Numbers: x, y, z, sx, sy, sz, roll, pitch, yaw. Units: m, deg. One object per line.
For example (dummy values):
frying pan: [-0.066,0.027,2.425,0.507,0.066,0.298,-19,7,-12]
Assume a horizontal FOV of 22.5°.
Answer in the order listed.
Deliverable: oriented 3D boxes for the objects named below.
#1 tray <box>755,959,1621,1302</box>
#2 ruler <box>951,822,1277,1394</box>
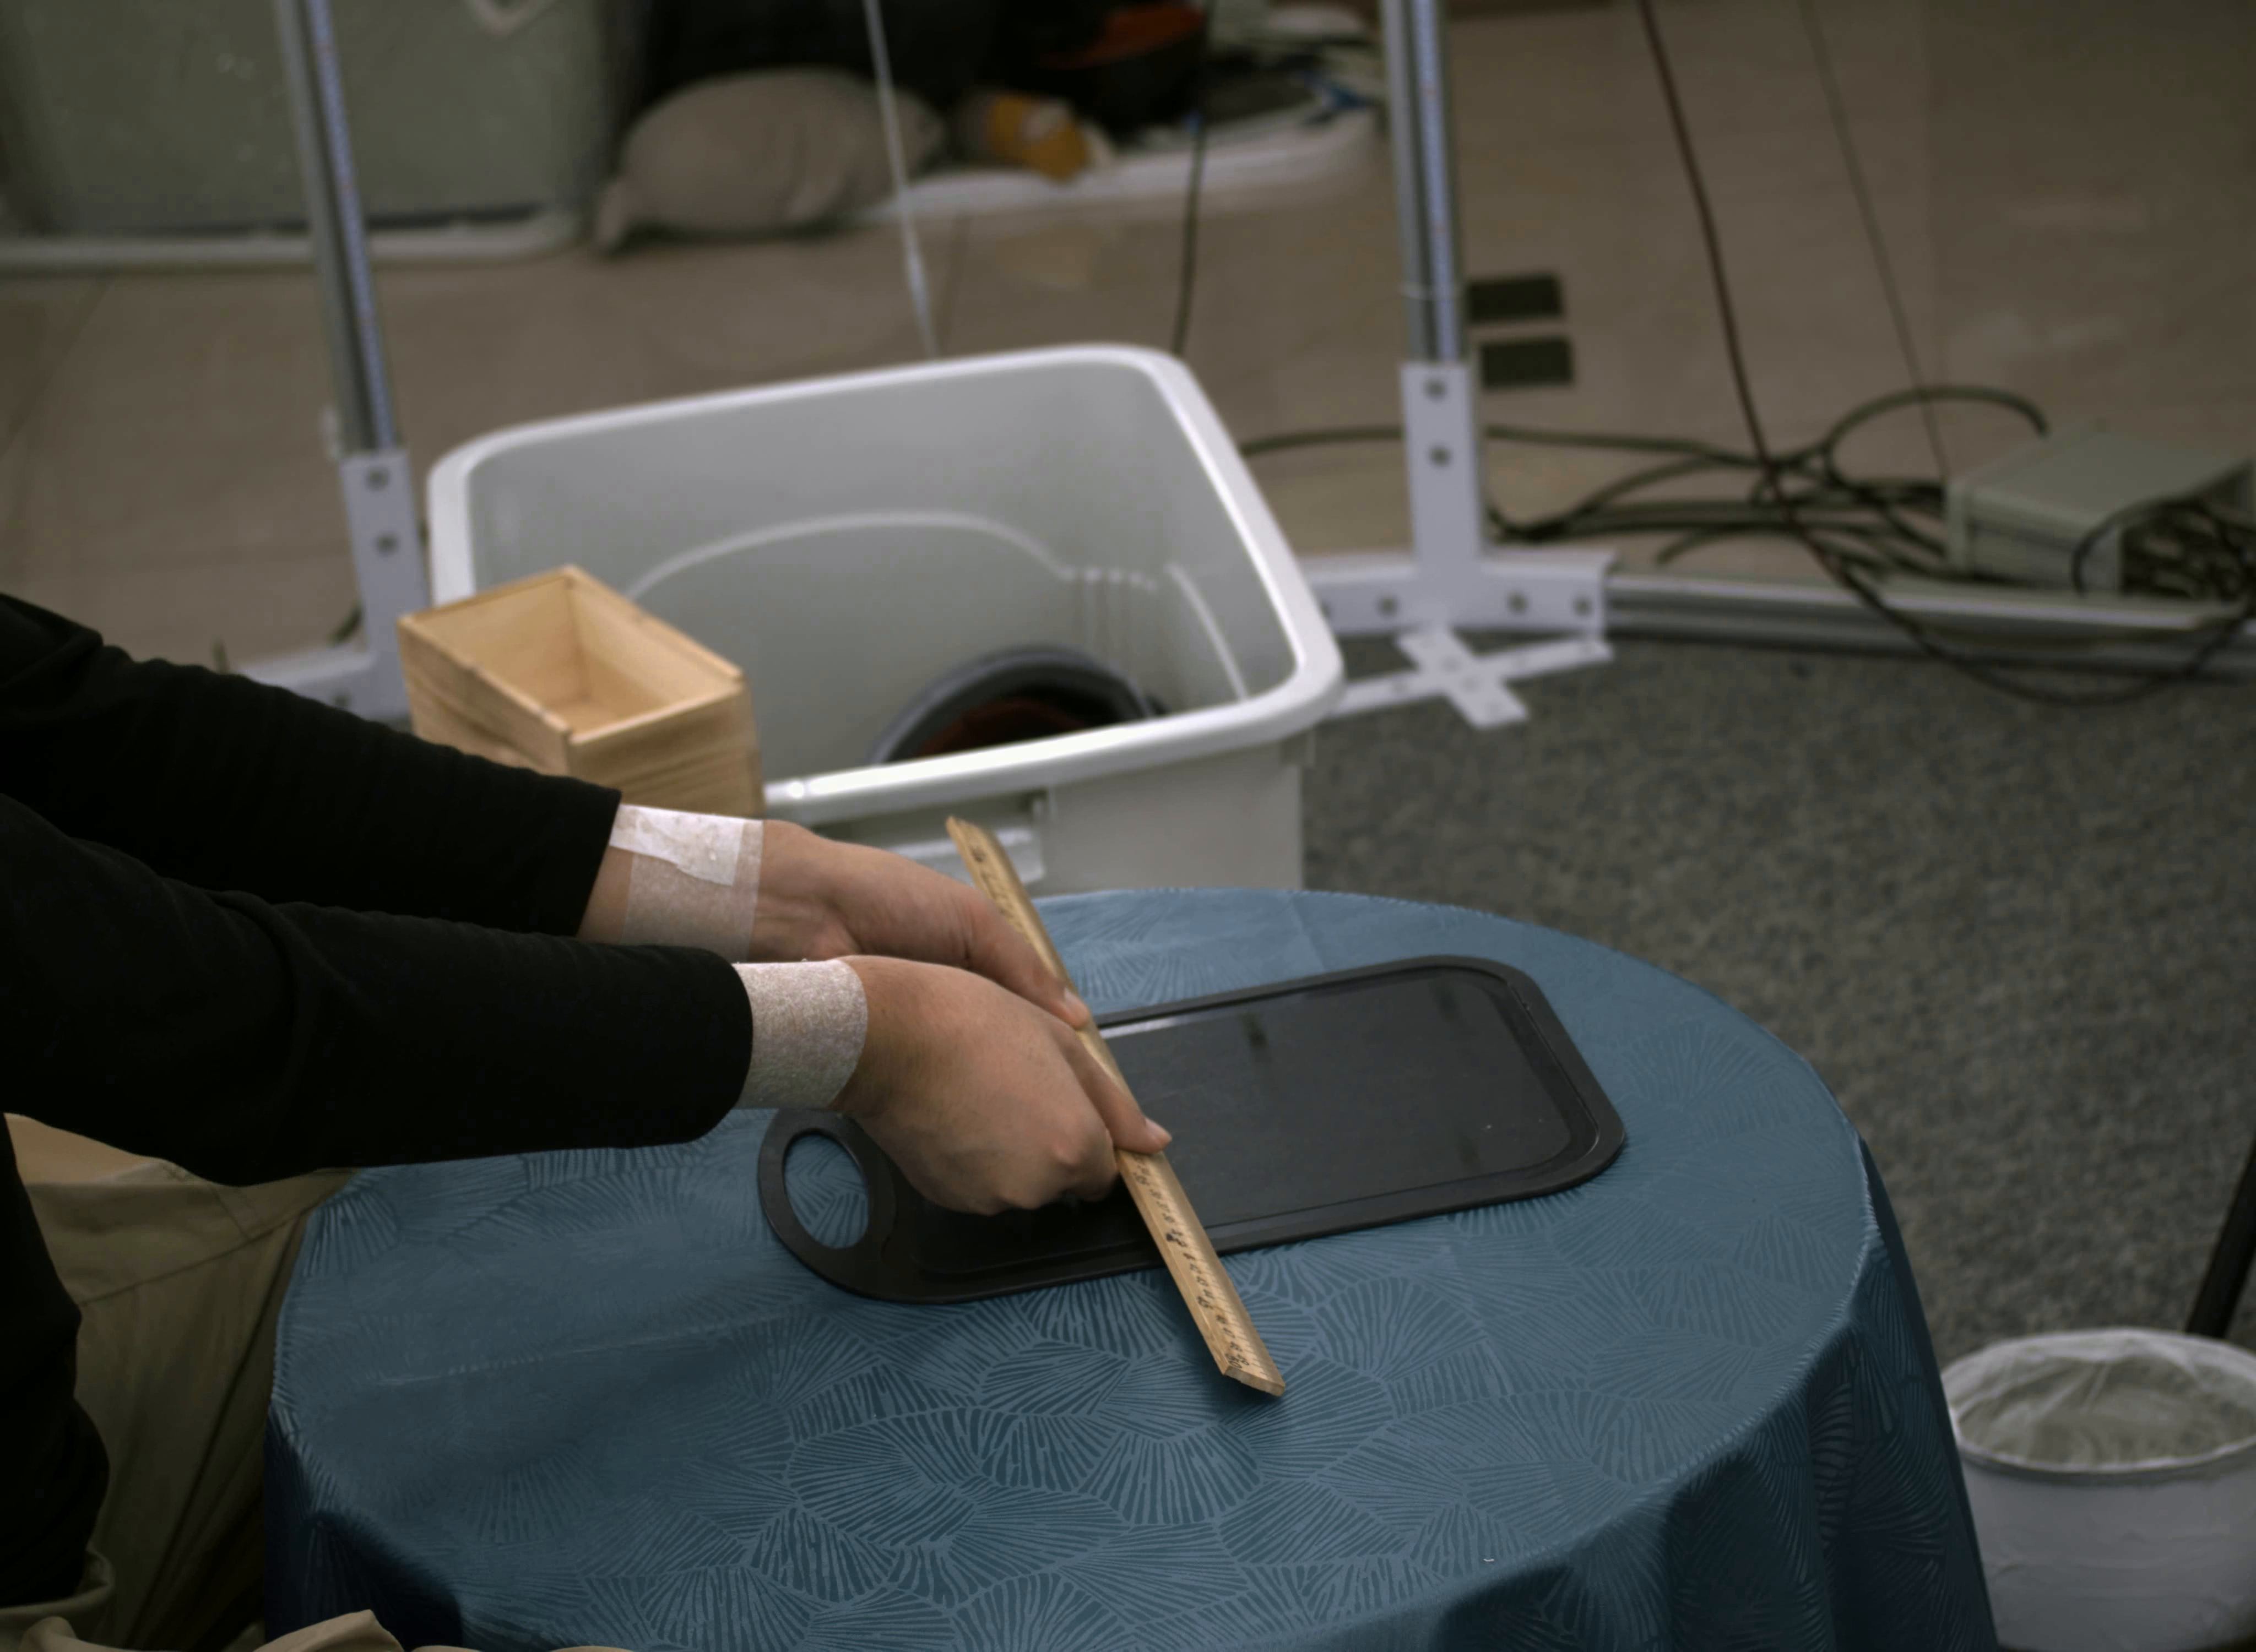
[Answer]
tray: [0.018,0.115,2.187,0.325,0.010,0.208,-10,25,-7]
ruler: [-0.012,0.098,2.210,0.027,0.006,0.493,21,16,-21]
